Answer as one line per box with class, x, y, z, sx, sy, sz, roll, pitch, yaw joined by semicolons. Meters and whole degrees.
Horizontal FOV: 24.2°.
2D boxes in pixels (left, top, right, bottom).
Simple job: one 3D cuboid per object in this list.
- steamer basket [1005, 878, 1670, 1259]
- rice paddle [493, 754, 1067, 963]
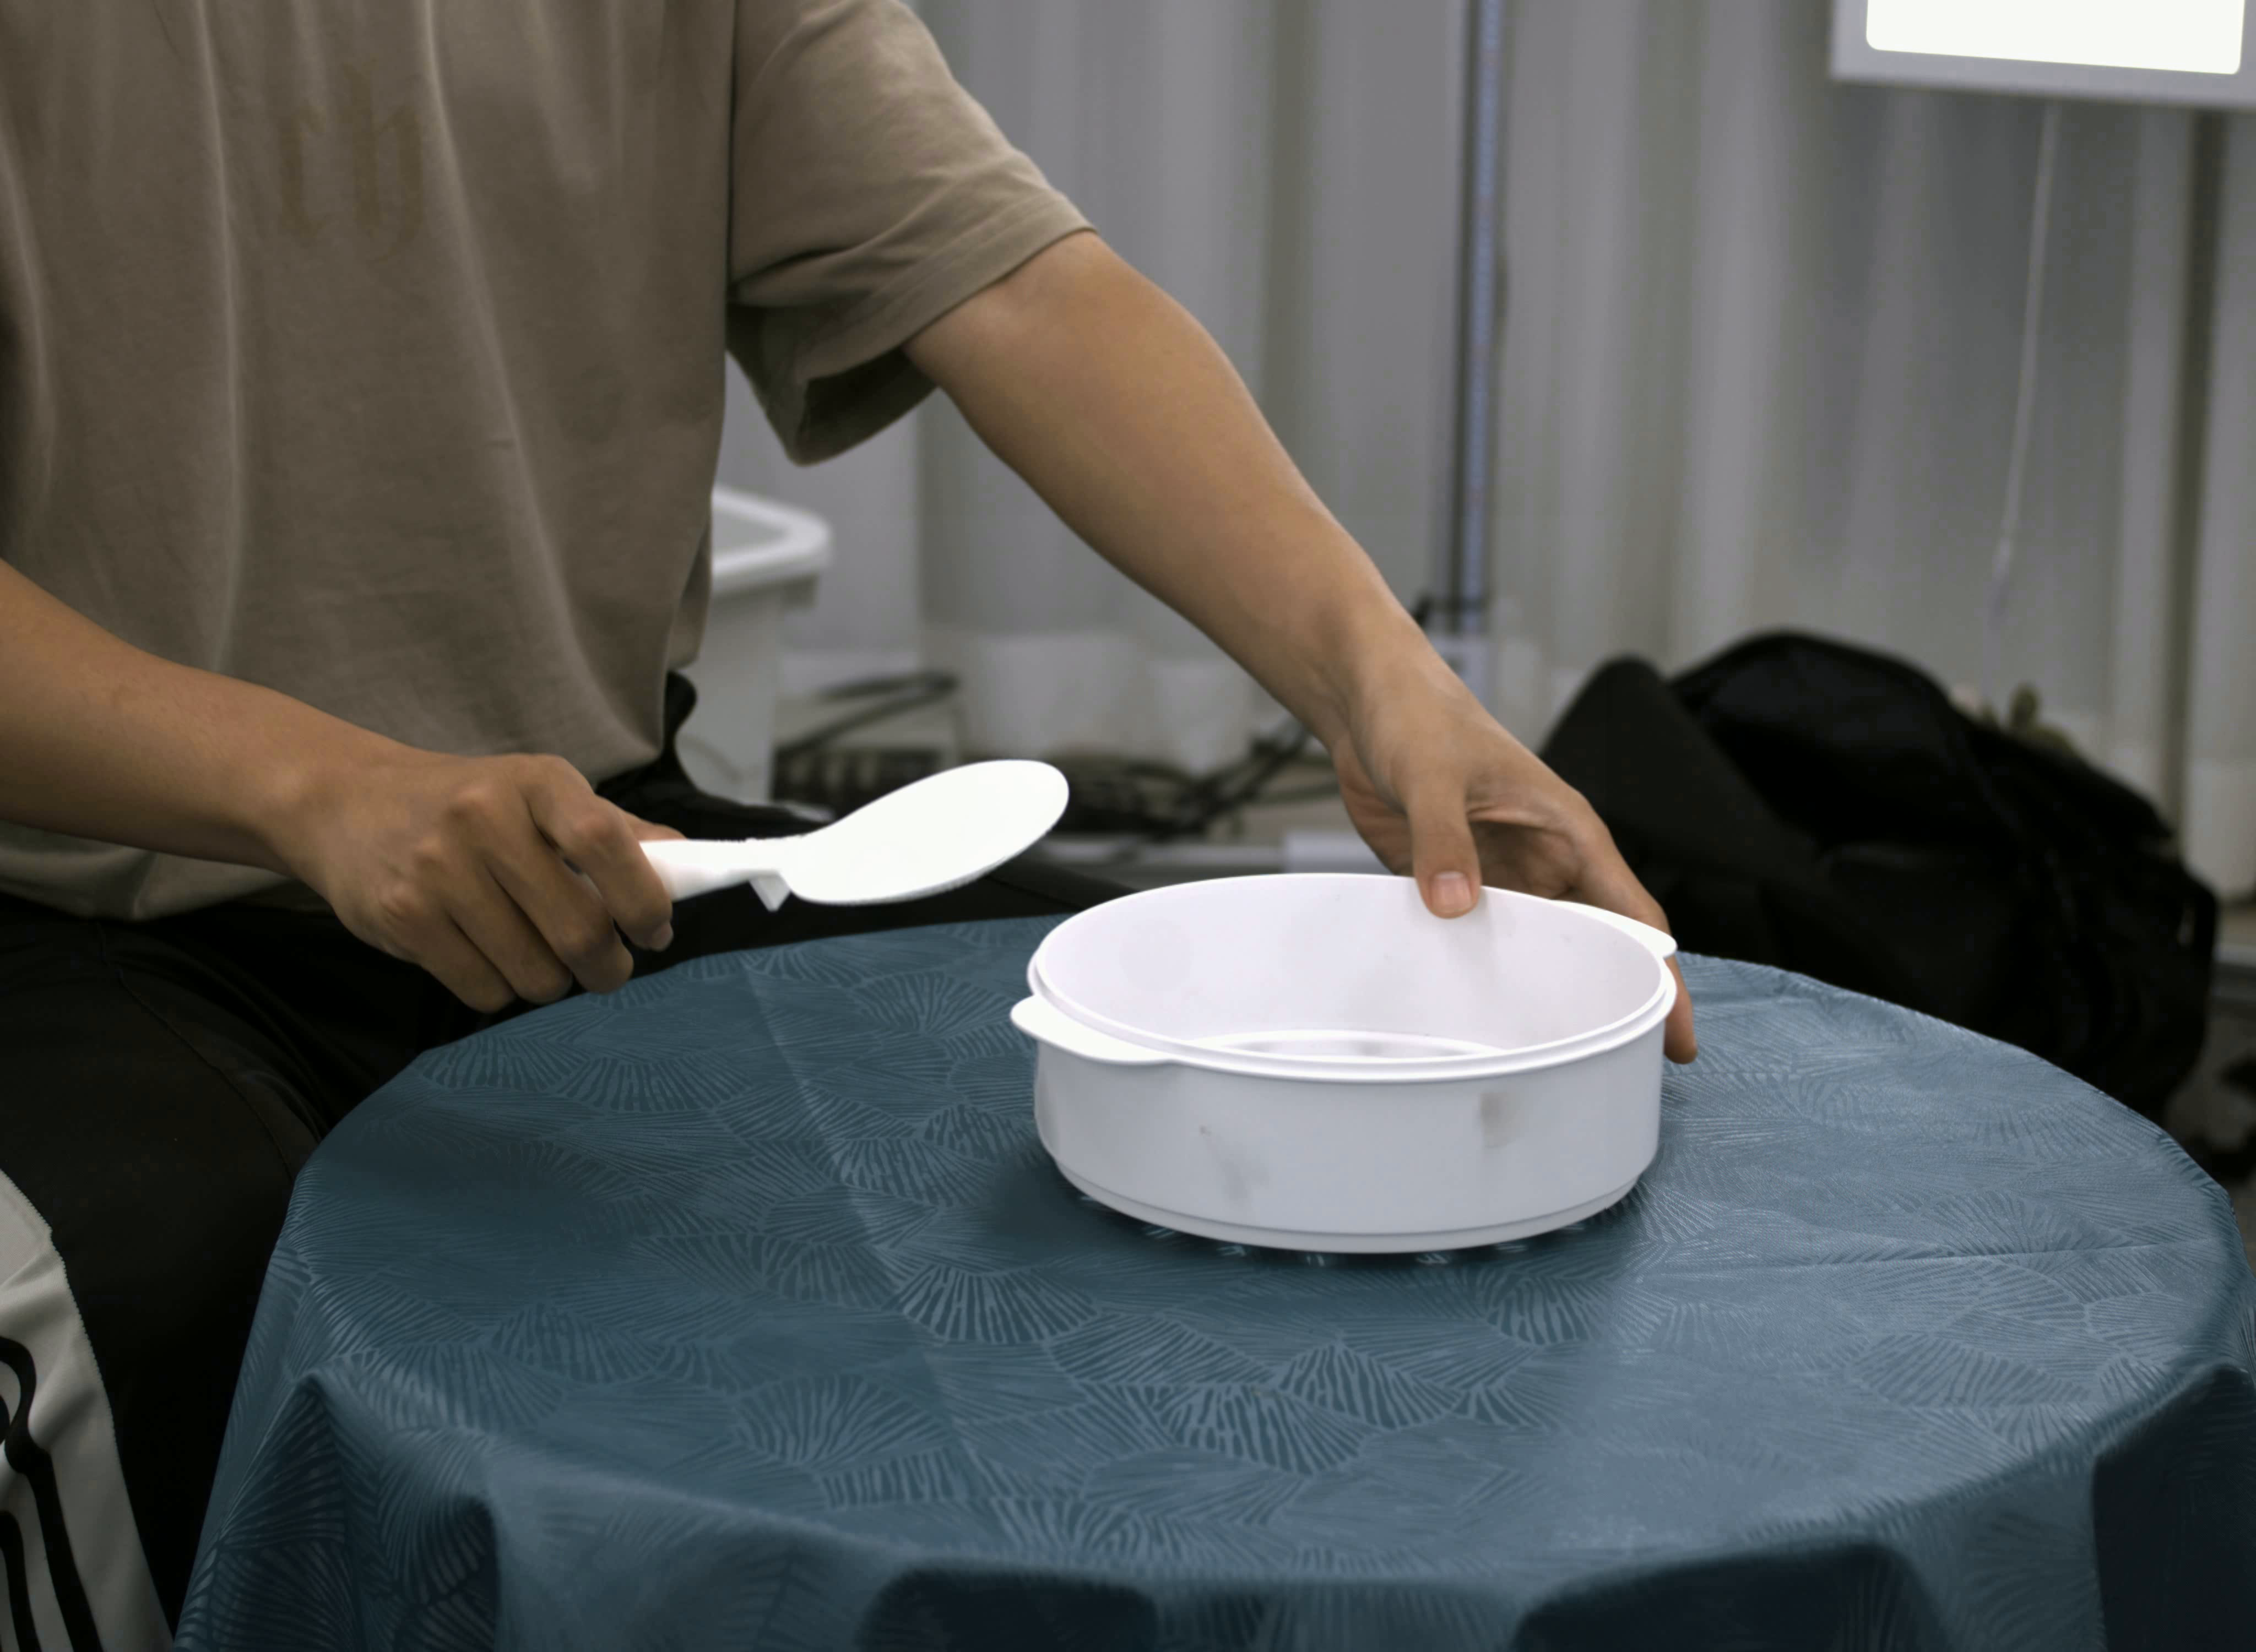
steamer basket;0.066;0.075;1.639;0.232;0.070;0.199;-8;19;-34
rice paddle;-0.103;0.010;1.549;0.203;0.030;0.068;-11;31;35
